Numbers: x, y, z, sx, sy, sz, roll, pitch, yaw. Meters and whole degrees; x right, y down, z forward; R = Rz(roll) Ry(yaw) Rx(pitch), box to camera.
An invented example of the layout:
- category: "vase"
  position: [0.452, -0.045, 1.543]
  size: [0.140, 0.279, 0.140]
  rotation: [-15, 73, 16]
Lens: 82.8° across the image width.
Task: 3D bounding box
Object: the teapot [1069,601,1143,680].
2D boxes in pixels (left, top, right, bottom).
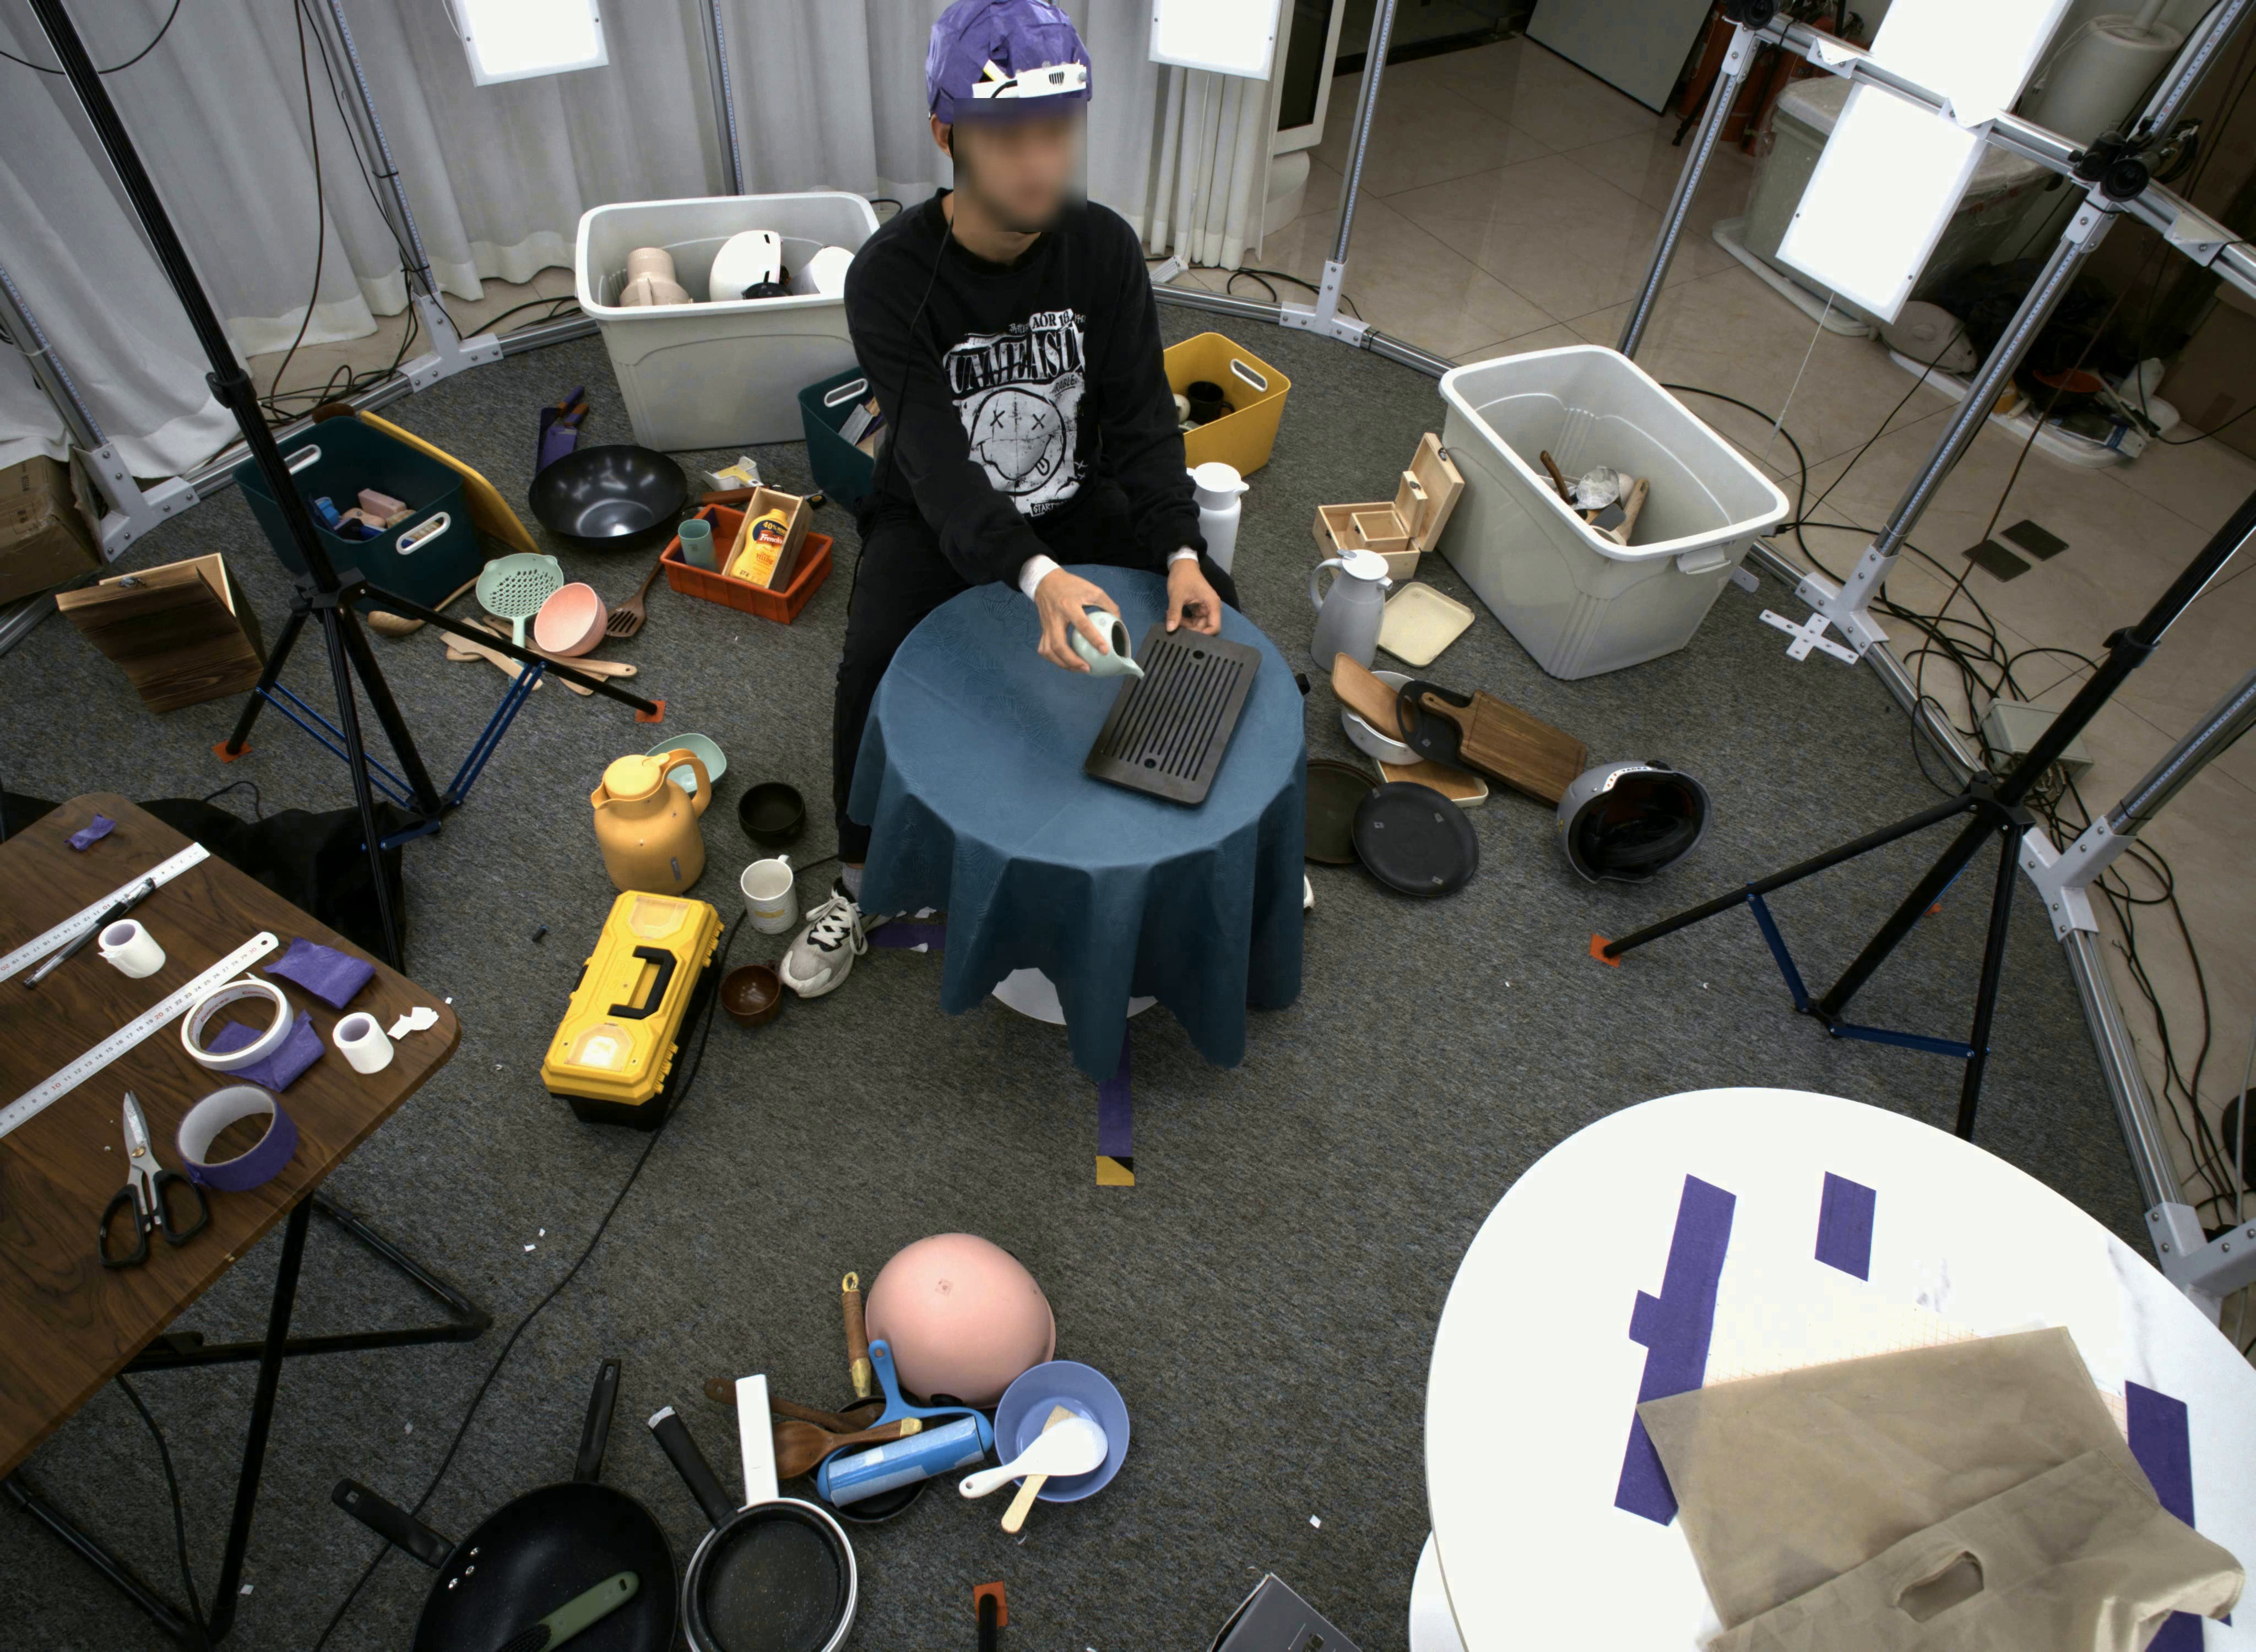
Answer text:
- category: "teapot"
  position: [-0.037, -0.239, 1.695]
  size: [0.075, 0.140, 0.090]
  rotation: [-7, 46, 24]

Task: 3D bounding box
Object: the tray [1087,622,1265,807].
- category: "tray"
  position: [0.072, -0.160, 1.789]
  size: [0.171, 0.018, 0.312]
  rotation: [16, 53, 11]
